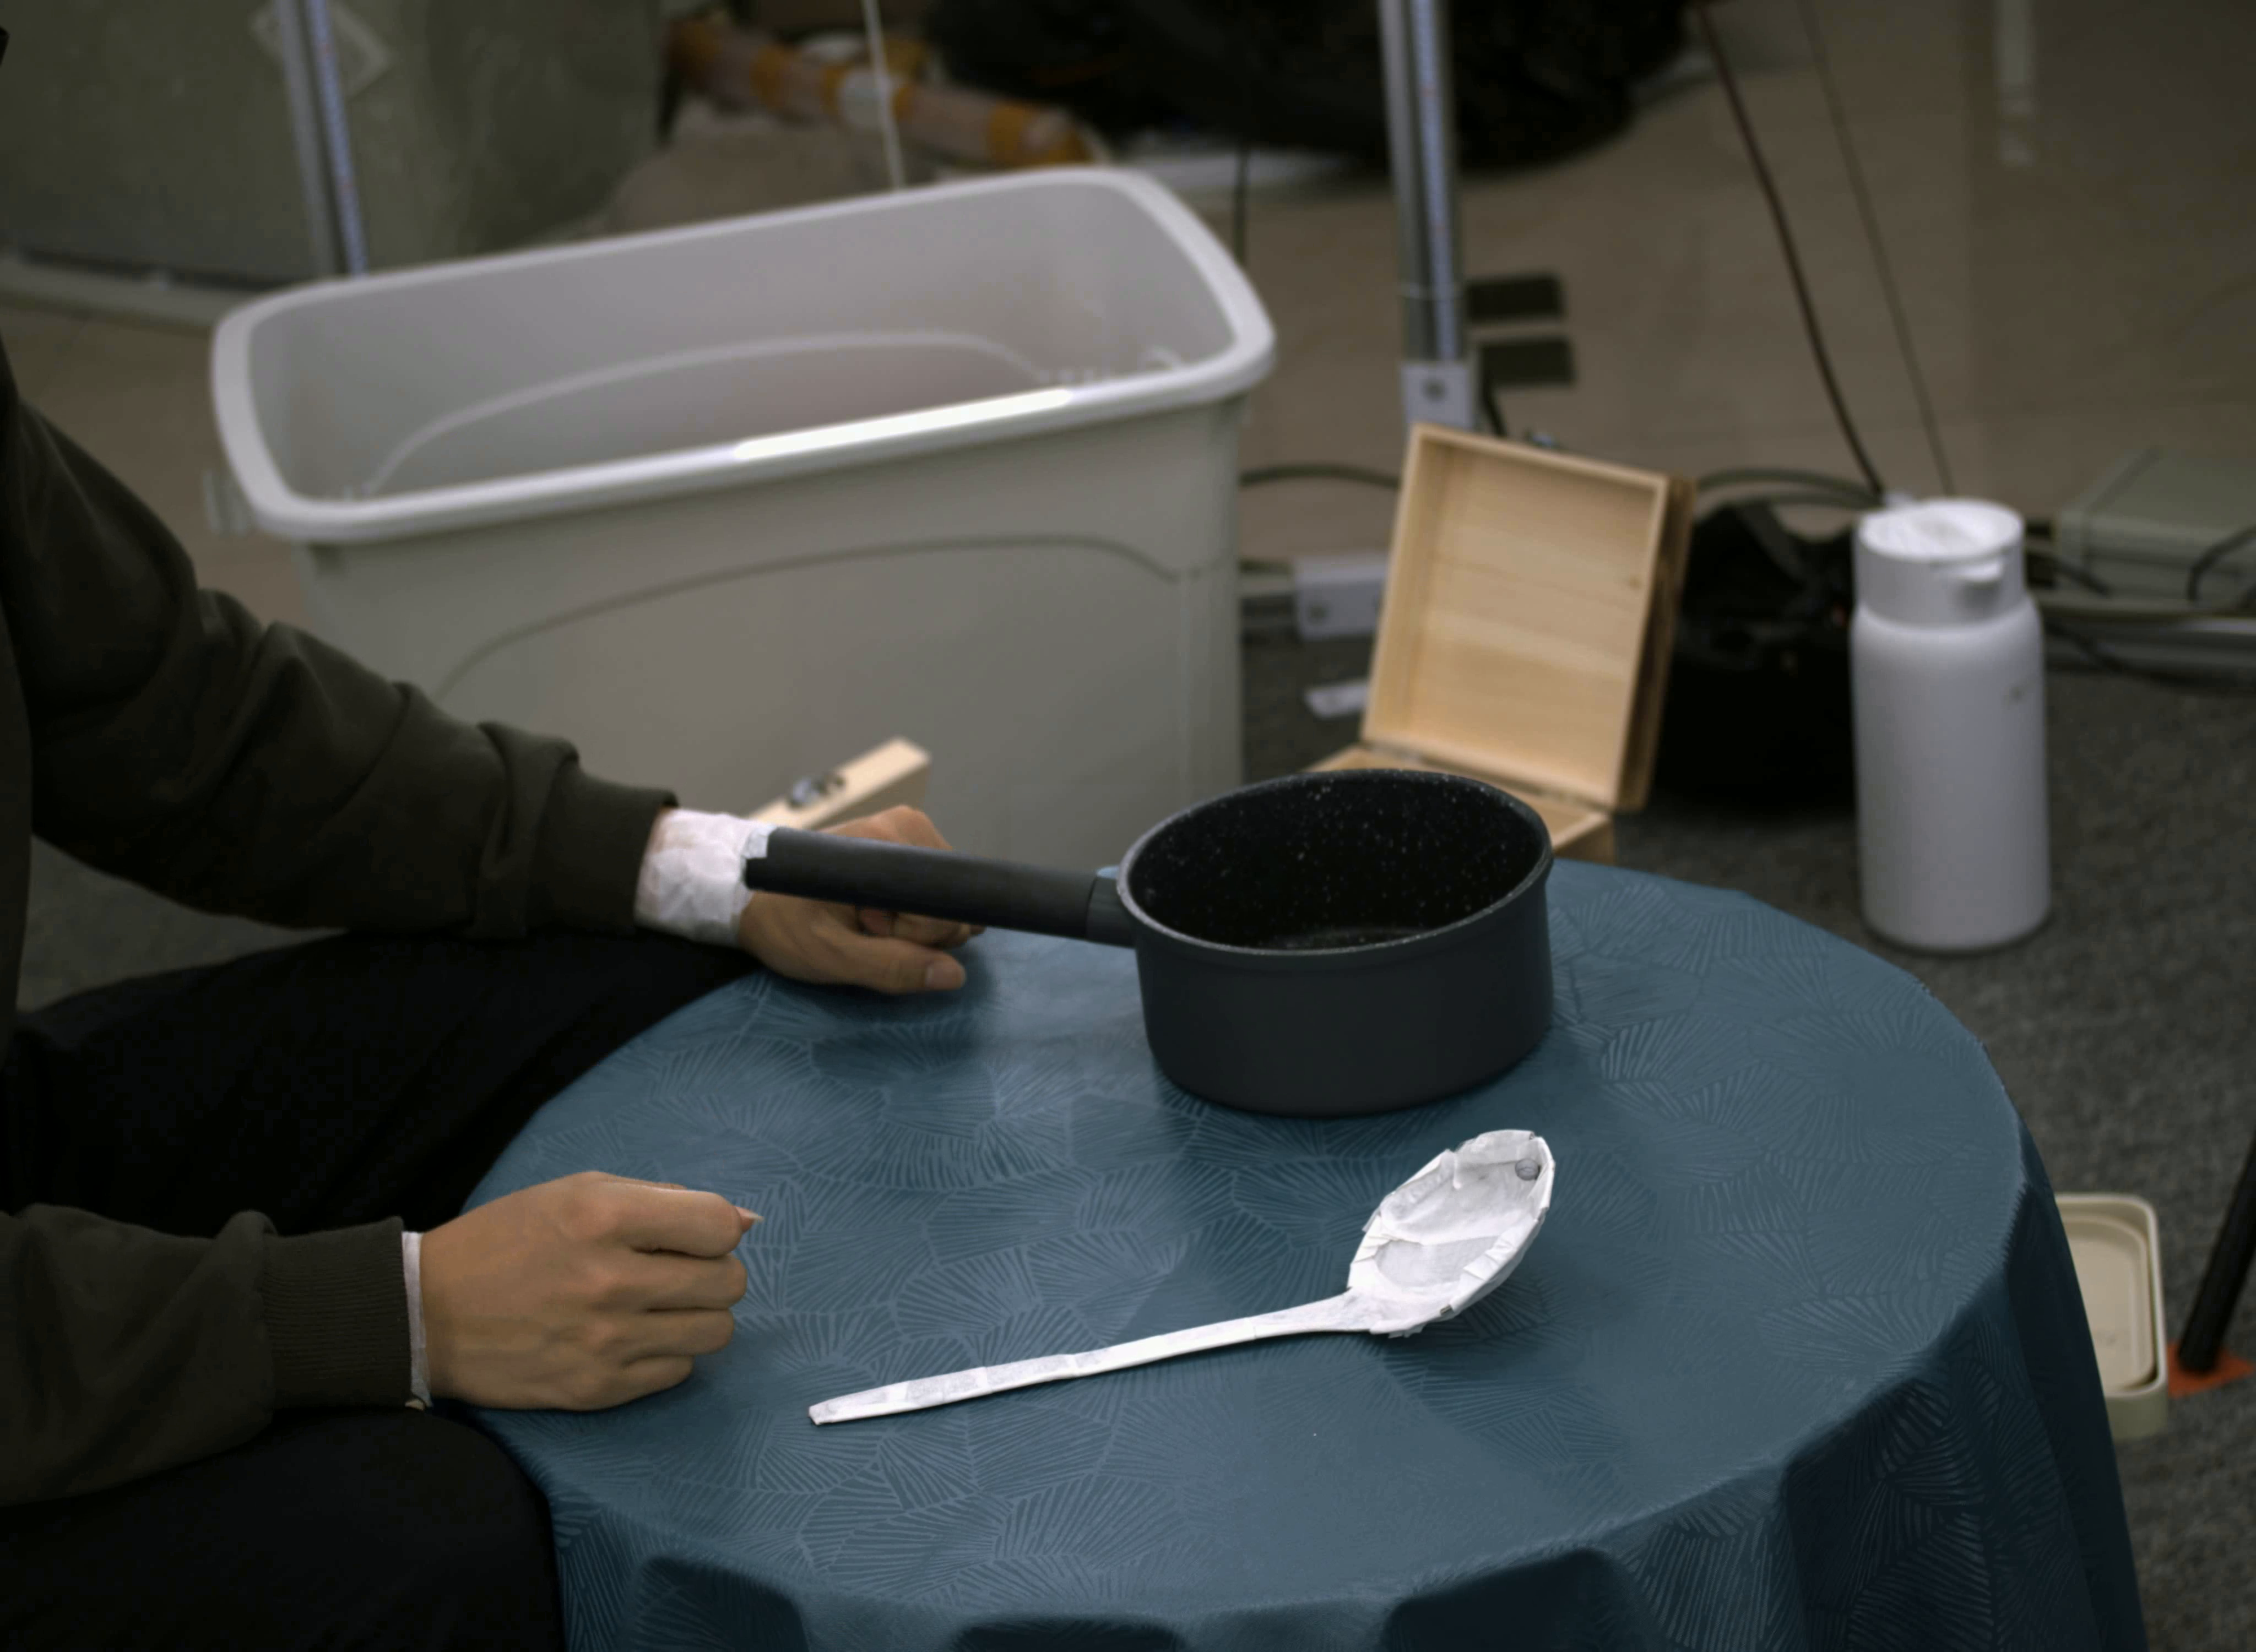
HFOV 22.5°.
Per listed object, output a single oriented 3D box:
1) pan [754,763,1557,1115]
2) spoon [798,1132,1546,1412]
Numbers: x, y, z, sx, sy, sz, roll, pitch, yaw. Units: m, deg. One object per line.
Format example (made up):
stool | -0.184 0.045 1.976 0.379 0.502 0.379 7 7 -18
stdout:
pan | 0.010 0.041 2.260 0.328 0.088 0.169 2 25 17
spoon | 0.015 0.160 2.037 0.277 0.060 0.099 -8 23 -3
